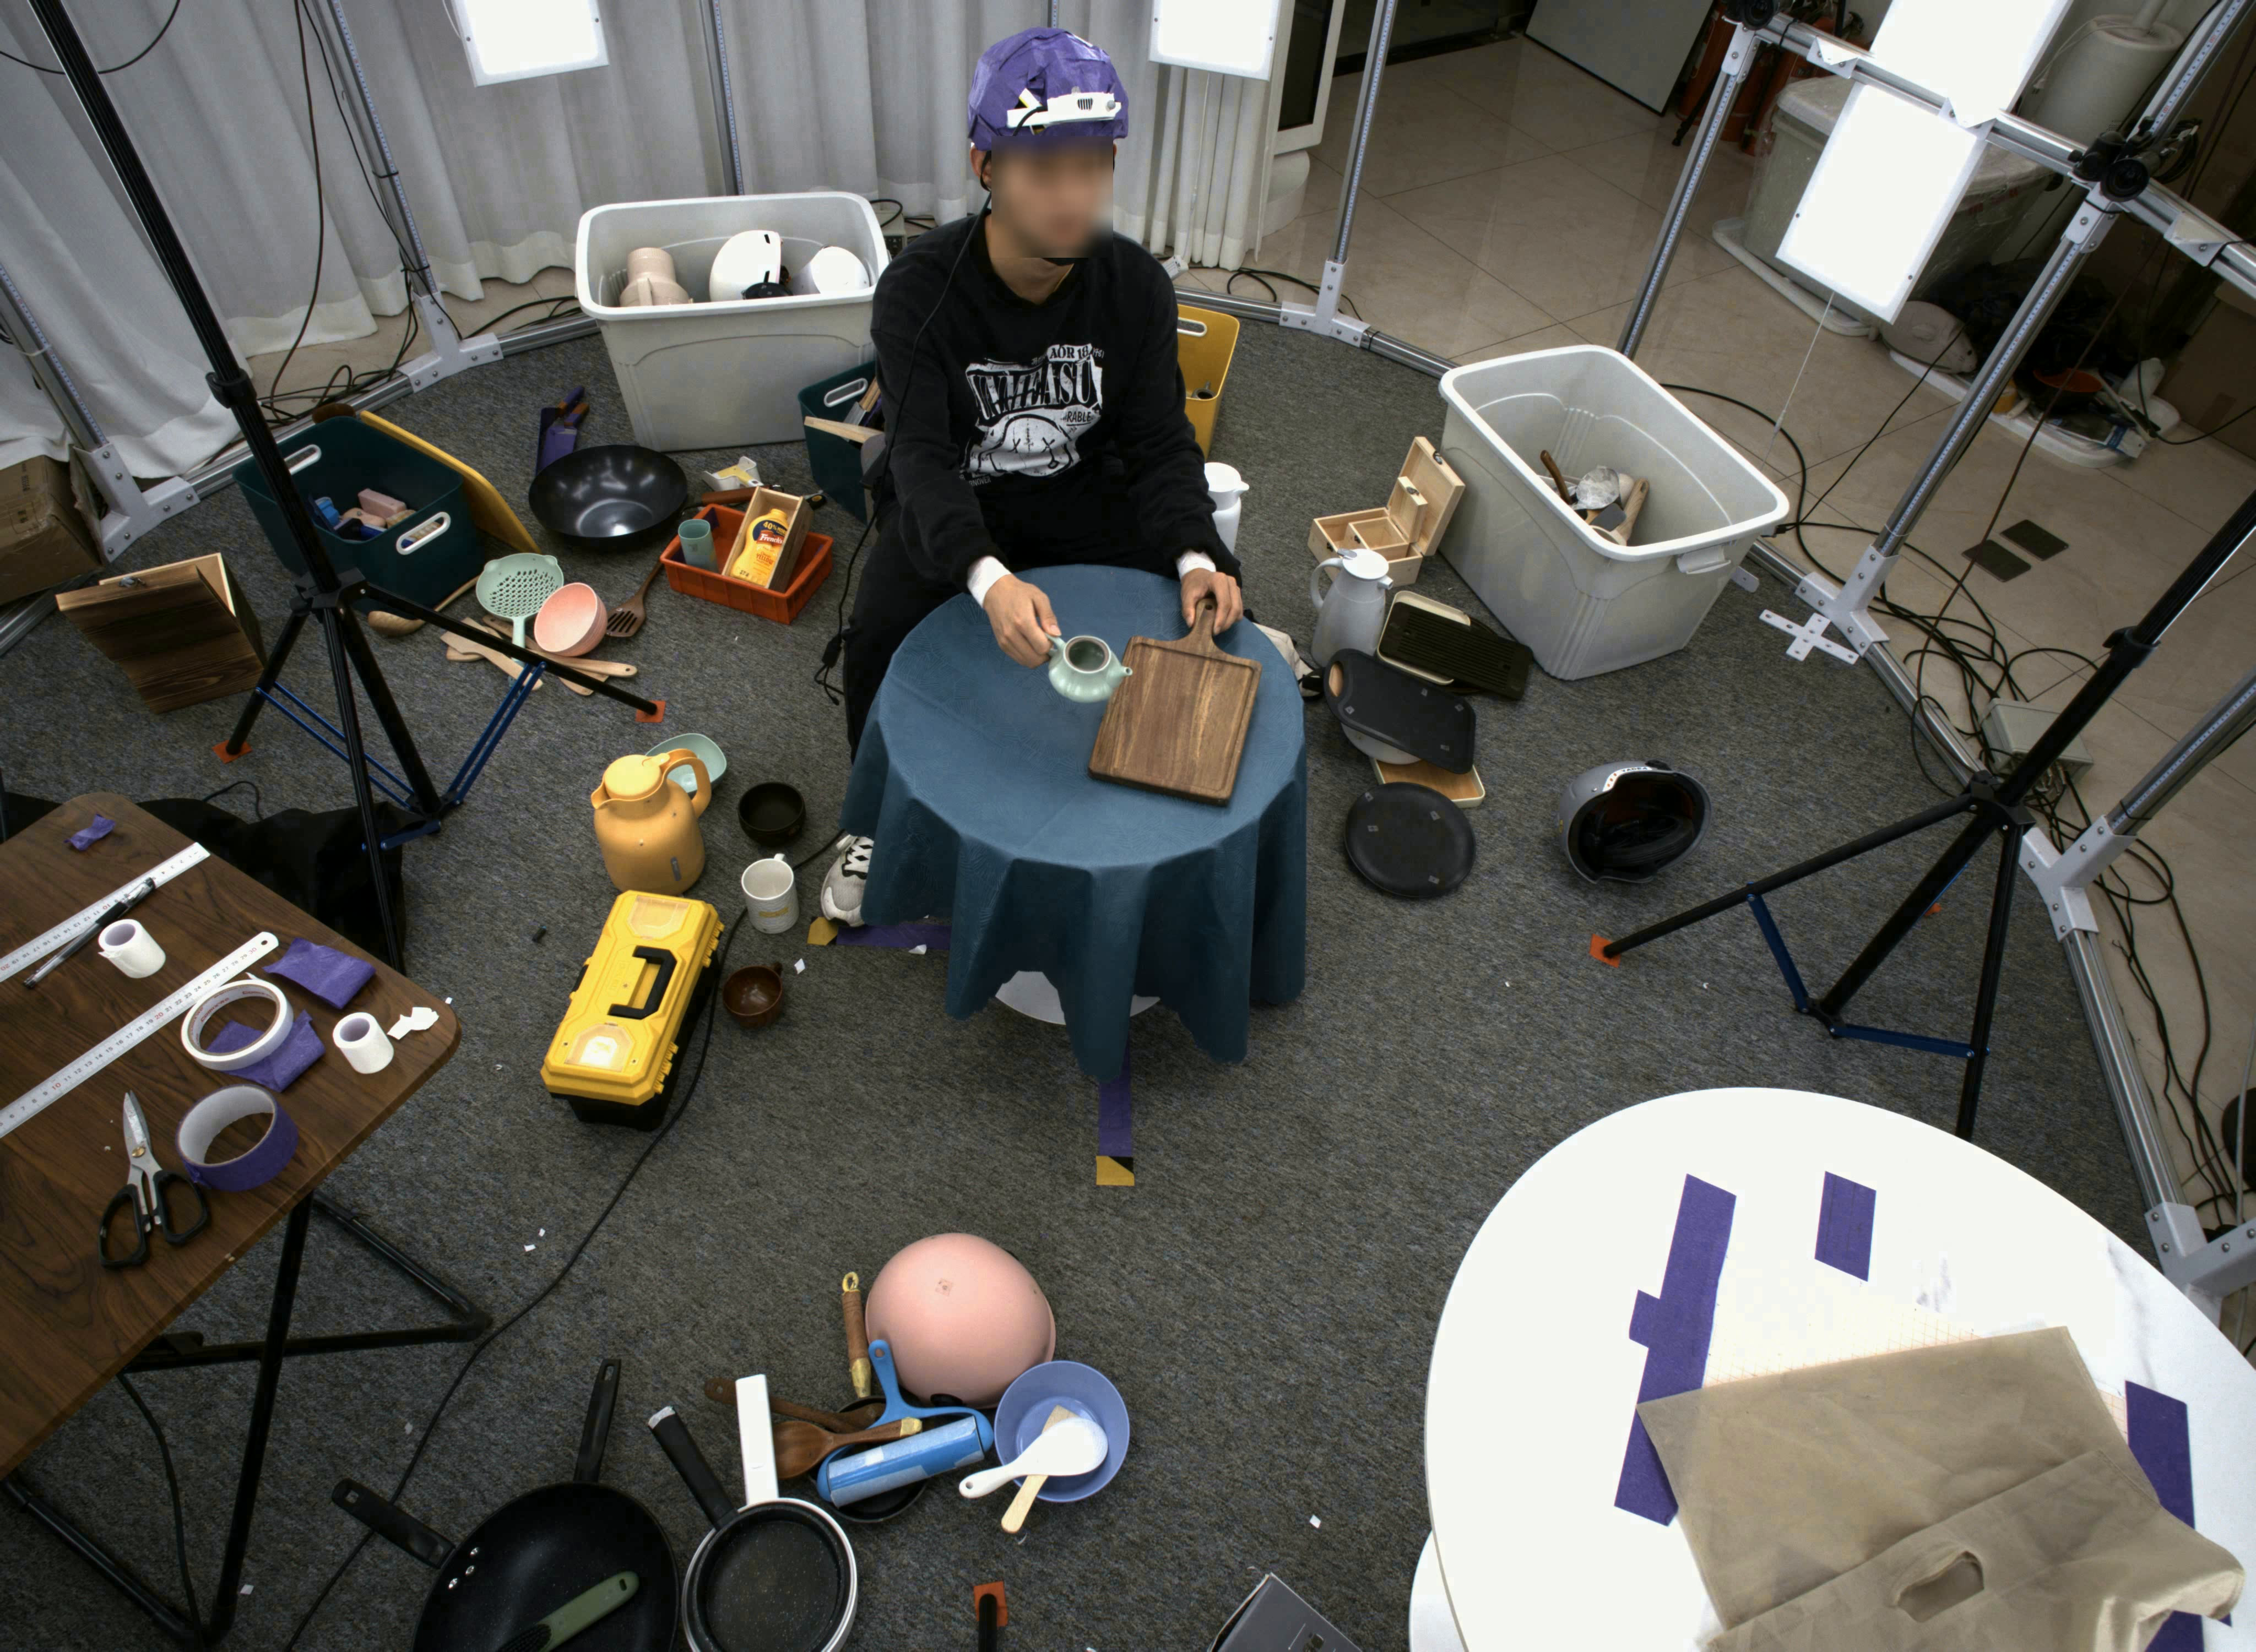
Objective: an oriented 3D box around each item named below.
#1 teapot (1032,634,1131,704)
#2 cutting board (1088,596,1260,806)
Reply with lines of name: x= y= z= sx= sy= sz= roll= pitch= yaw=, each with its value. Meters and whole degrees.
teapot: x=-0.063 y=-0.212 z=1.683 sx=0.137 sy=0.060 sz=0.098 roll=23 pitch=62 yaw=6
cutting board: x=0.078 y=-0.190 z=1.801 sx=0.201 sy=0.022 sz=0.360 roll=12 pitch=56 yaw=6
